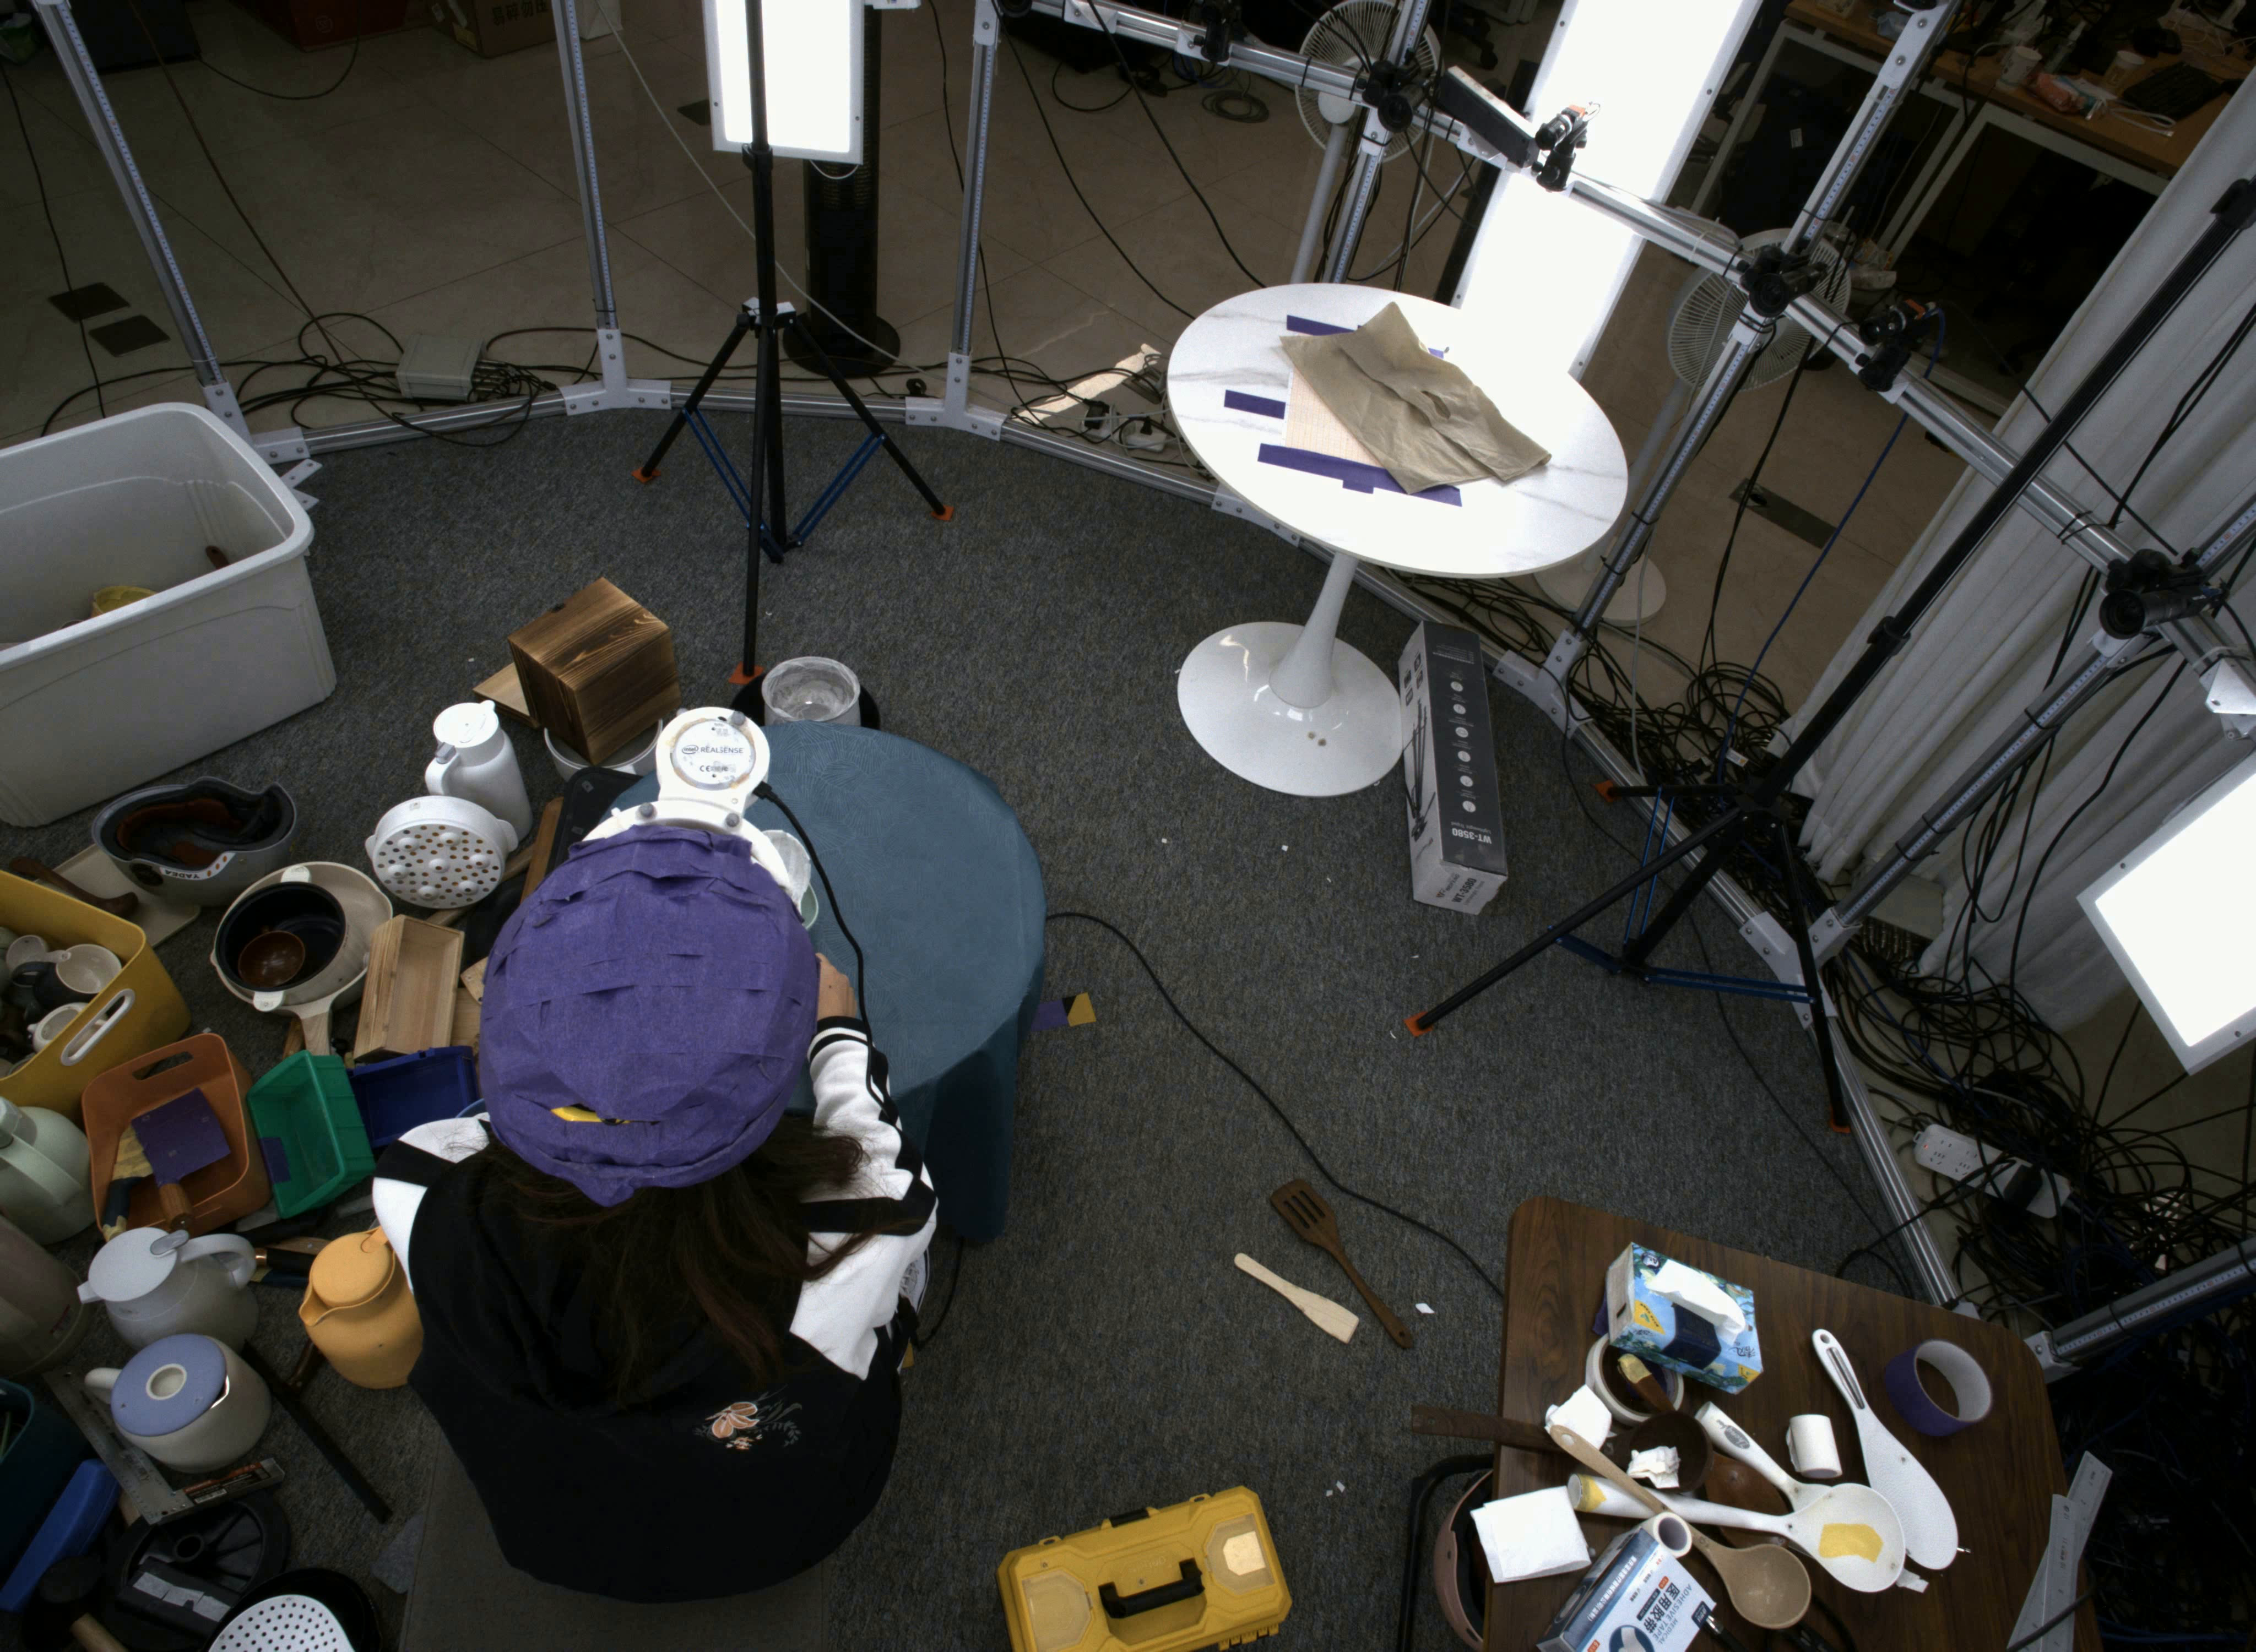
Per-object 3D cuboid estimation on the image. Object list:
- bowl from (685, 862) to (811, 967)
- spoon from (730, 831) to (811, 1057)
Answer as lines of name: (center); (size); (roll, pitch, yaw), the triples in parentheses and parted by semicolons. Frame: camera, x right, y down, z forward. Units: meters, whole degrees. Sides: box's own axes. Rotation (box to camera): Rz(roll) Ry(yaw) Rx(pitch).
bowl: (-0.465, 0.114, 1.589); (0.151, 0.060, 0.149); (8, 52, -8)
spoon: (-0.417, 0.136, 1.522); (0.099, 0.061, 0.272); (-26, 61, 19)
